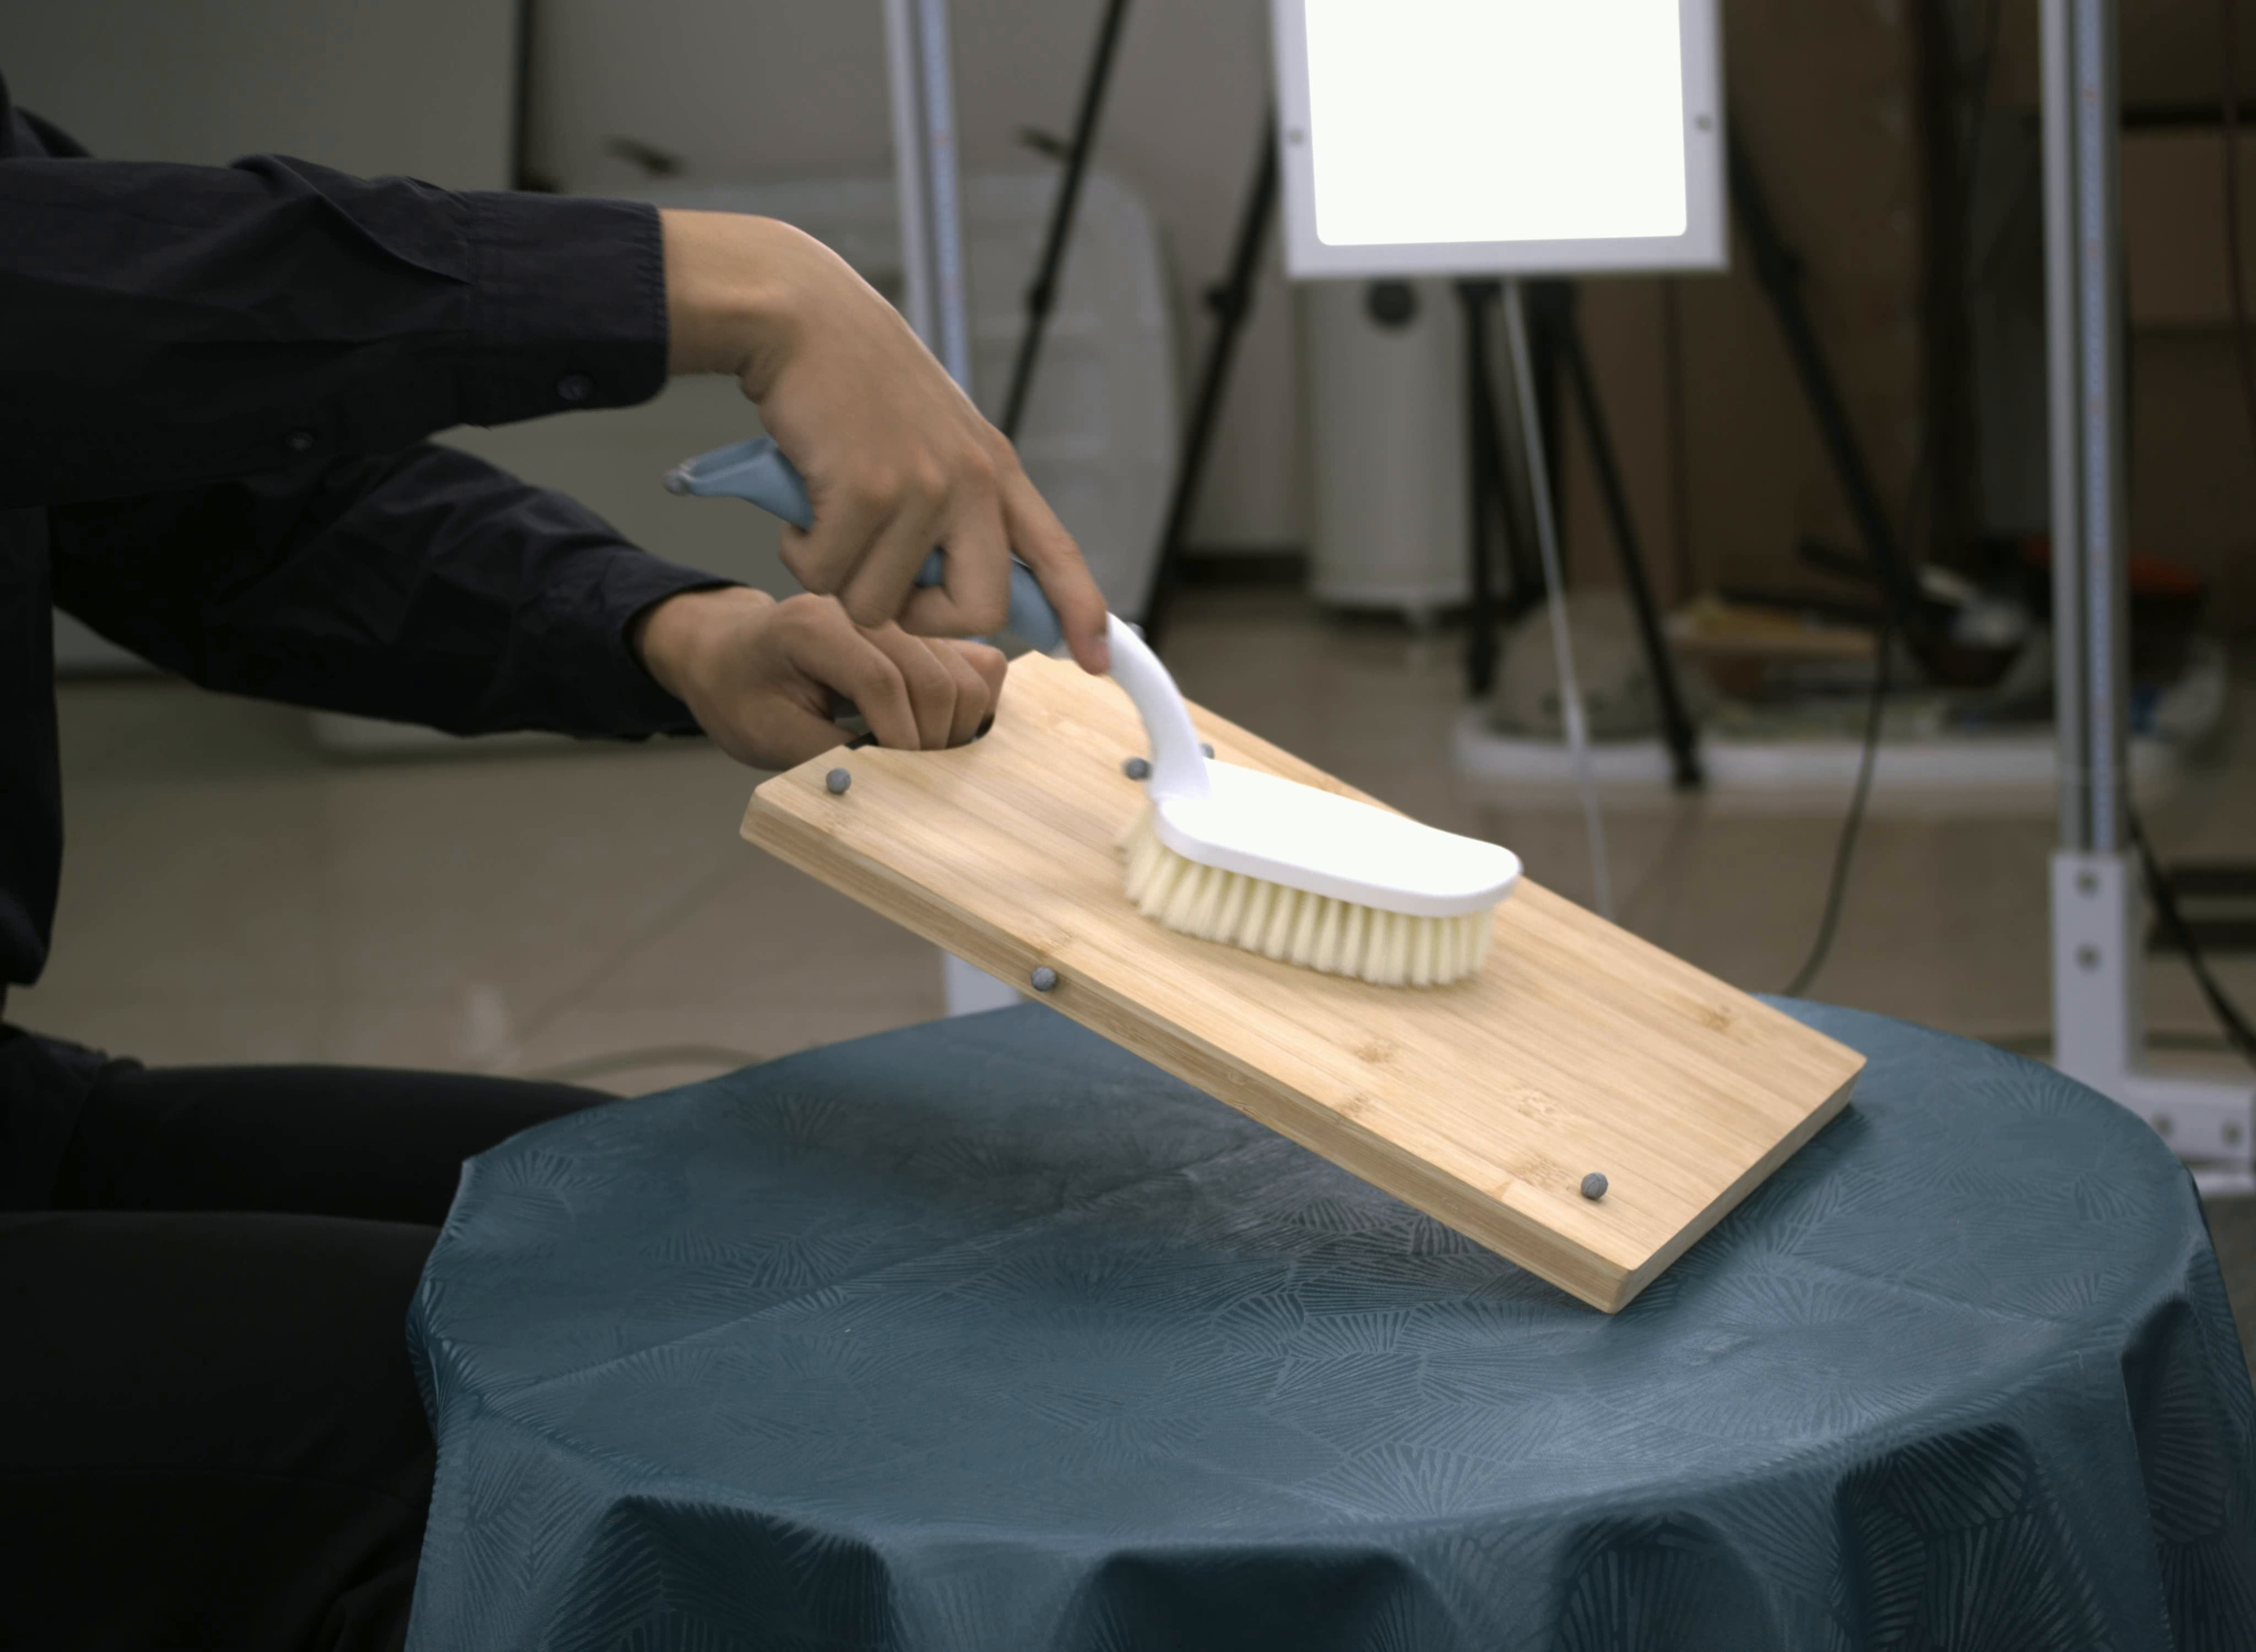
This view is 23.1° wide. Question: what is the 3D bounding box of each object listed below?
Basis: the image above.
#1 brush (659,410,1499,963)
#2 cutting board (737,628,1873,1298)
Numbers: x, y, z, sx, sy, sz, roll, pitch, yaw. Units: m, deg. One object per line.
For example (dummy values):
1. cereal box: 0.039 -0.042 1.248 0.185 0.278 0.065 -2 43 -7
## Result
1. brush: -0.027 -0.033 1.849 0.322 0.084 0.084 27 -15 -13
2. cutting board: 0.066 0.040 1.888 0.352 0.024 0.245 27 24 17
